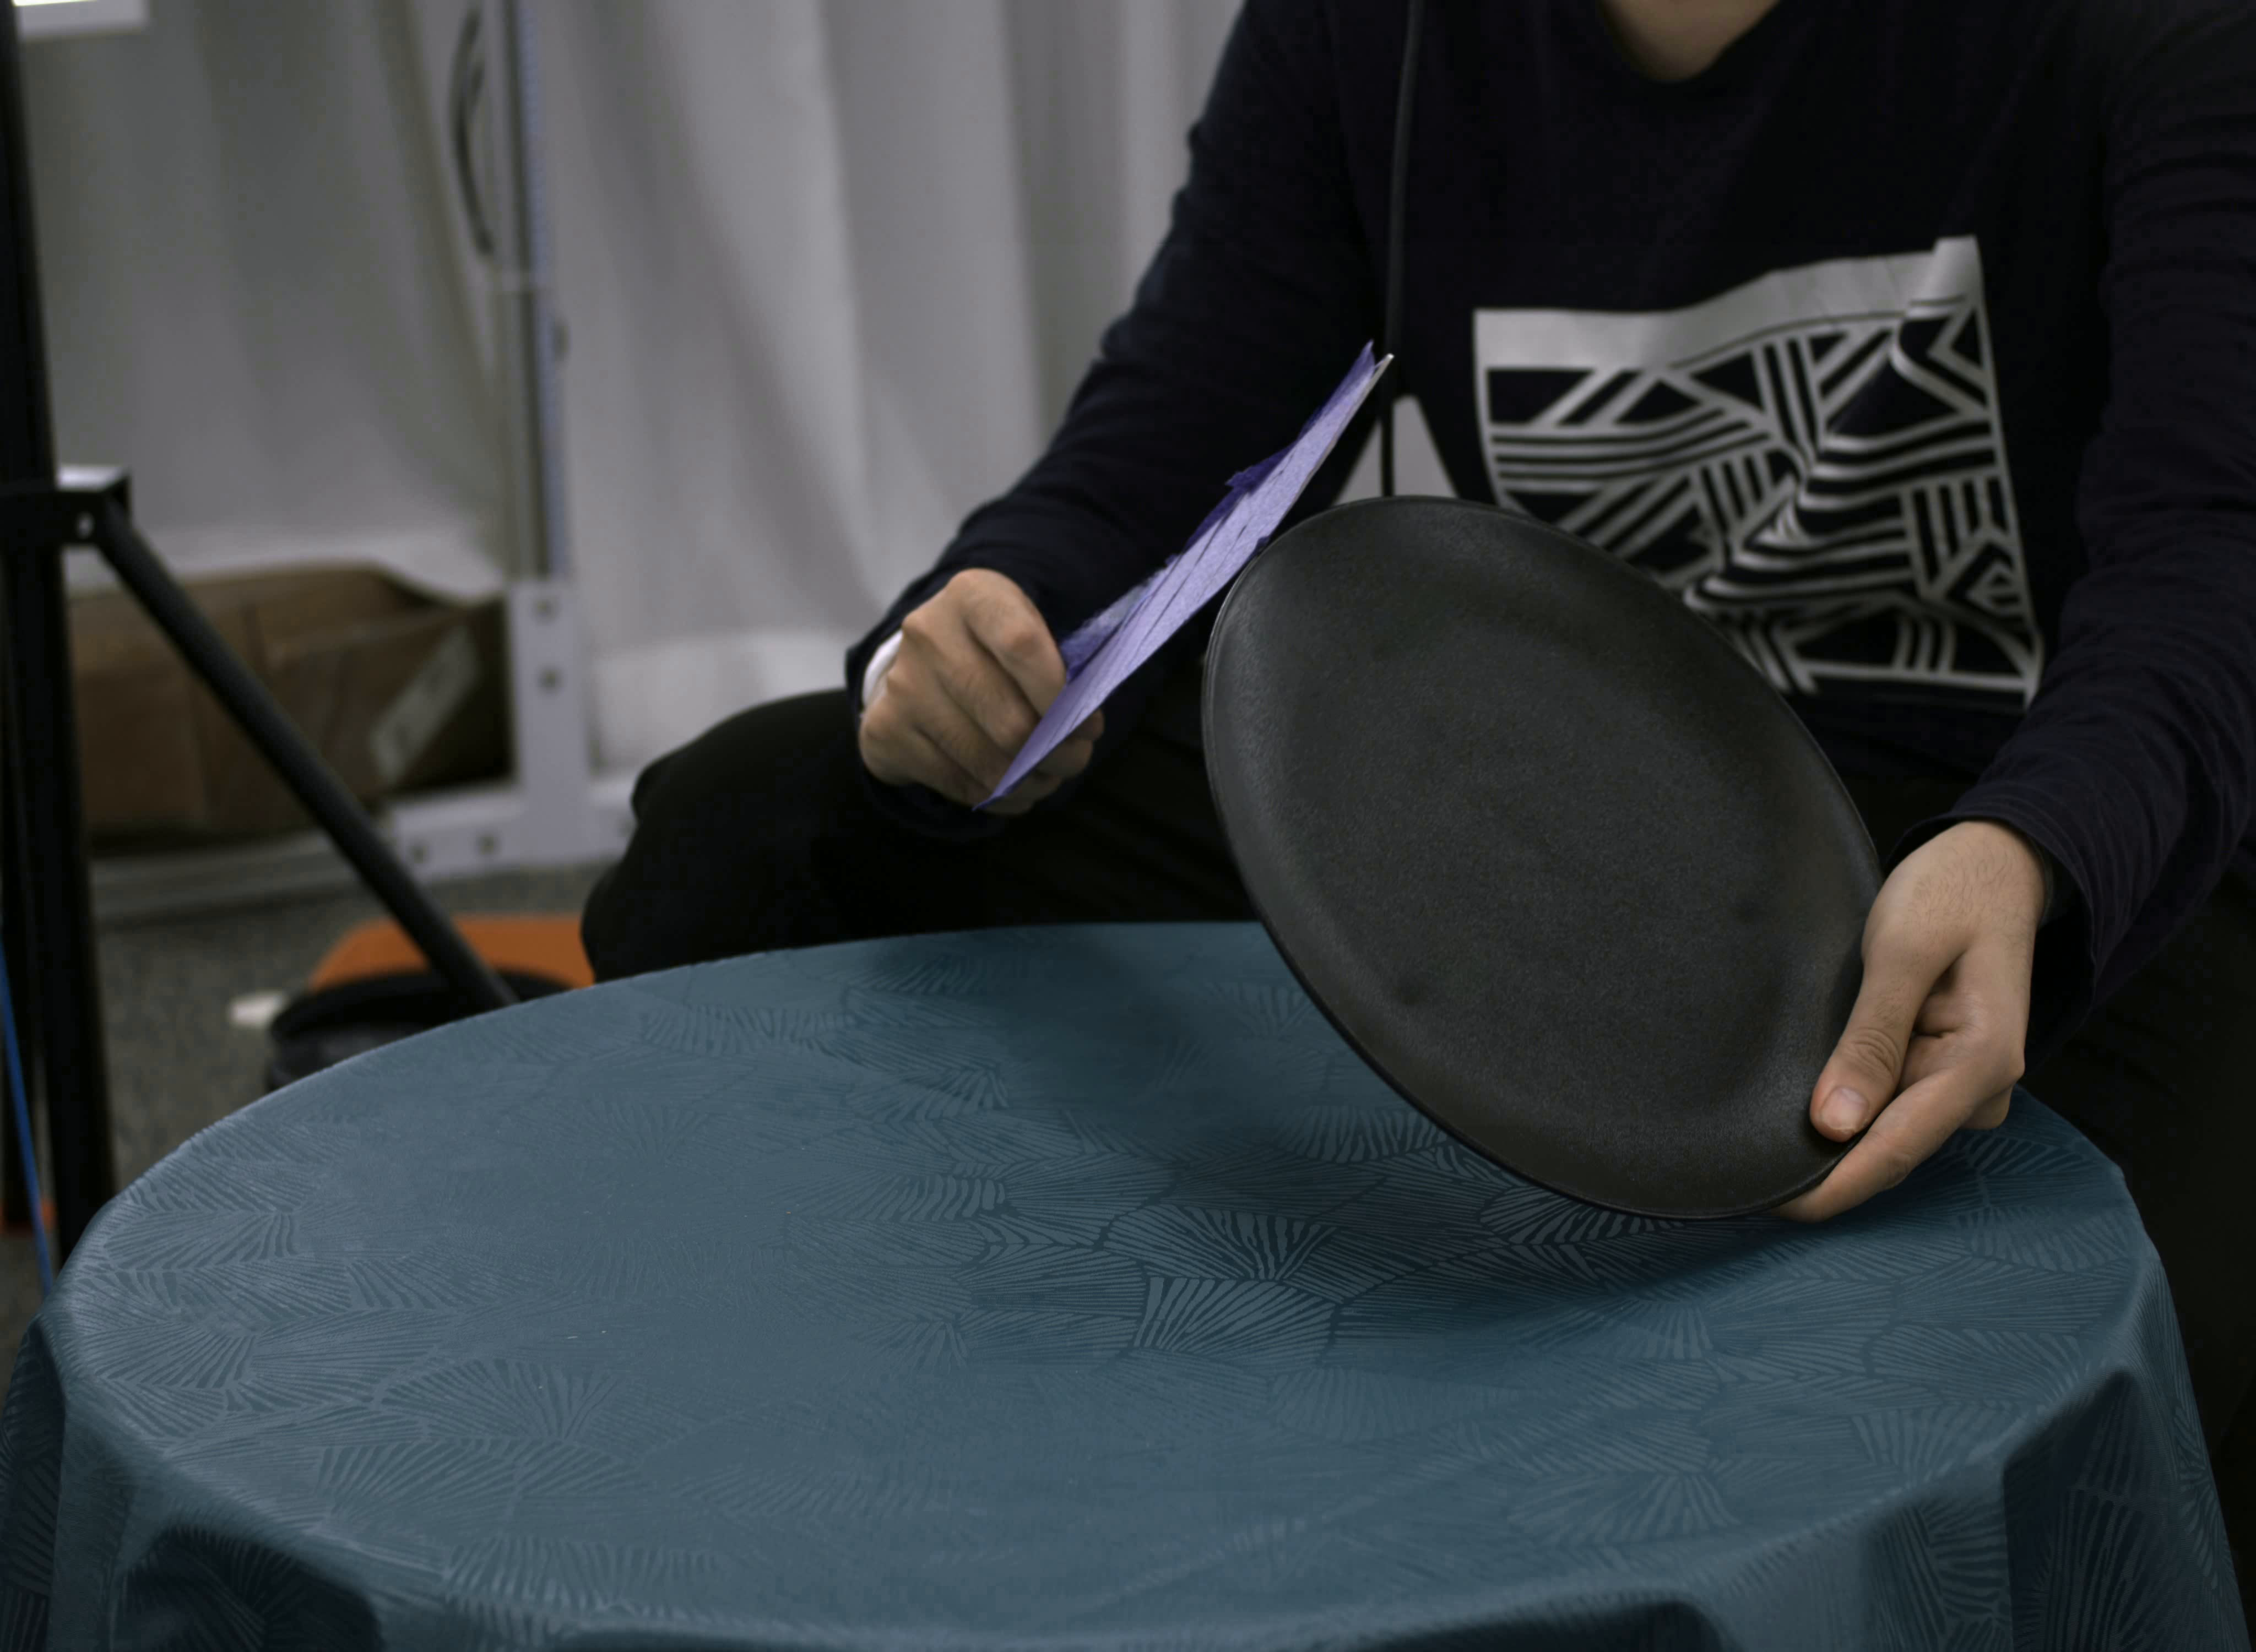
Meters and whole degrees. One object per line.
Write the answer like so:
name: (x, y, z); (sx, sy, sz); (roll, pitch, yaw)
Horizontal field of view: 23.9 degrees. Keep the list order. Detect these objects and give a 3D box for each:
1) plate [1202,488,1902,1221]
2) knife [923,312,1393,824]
plate: (0.121, 0.010, 1.532); (0.239, 0.247, 0.023); (-17, -22, -42)
knife: (-0.009, -0.056, 1.680); (0.103, 0.032, 0.318); (-56, 5, -34)
